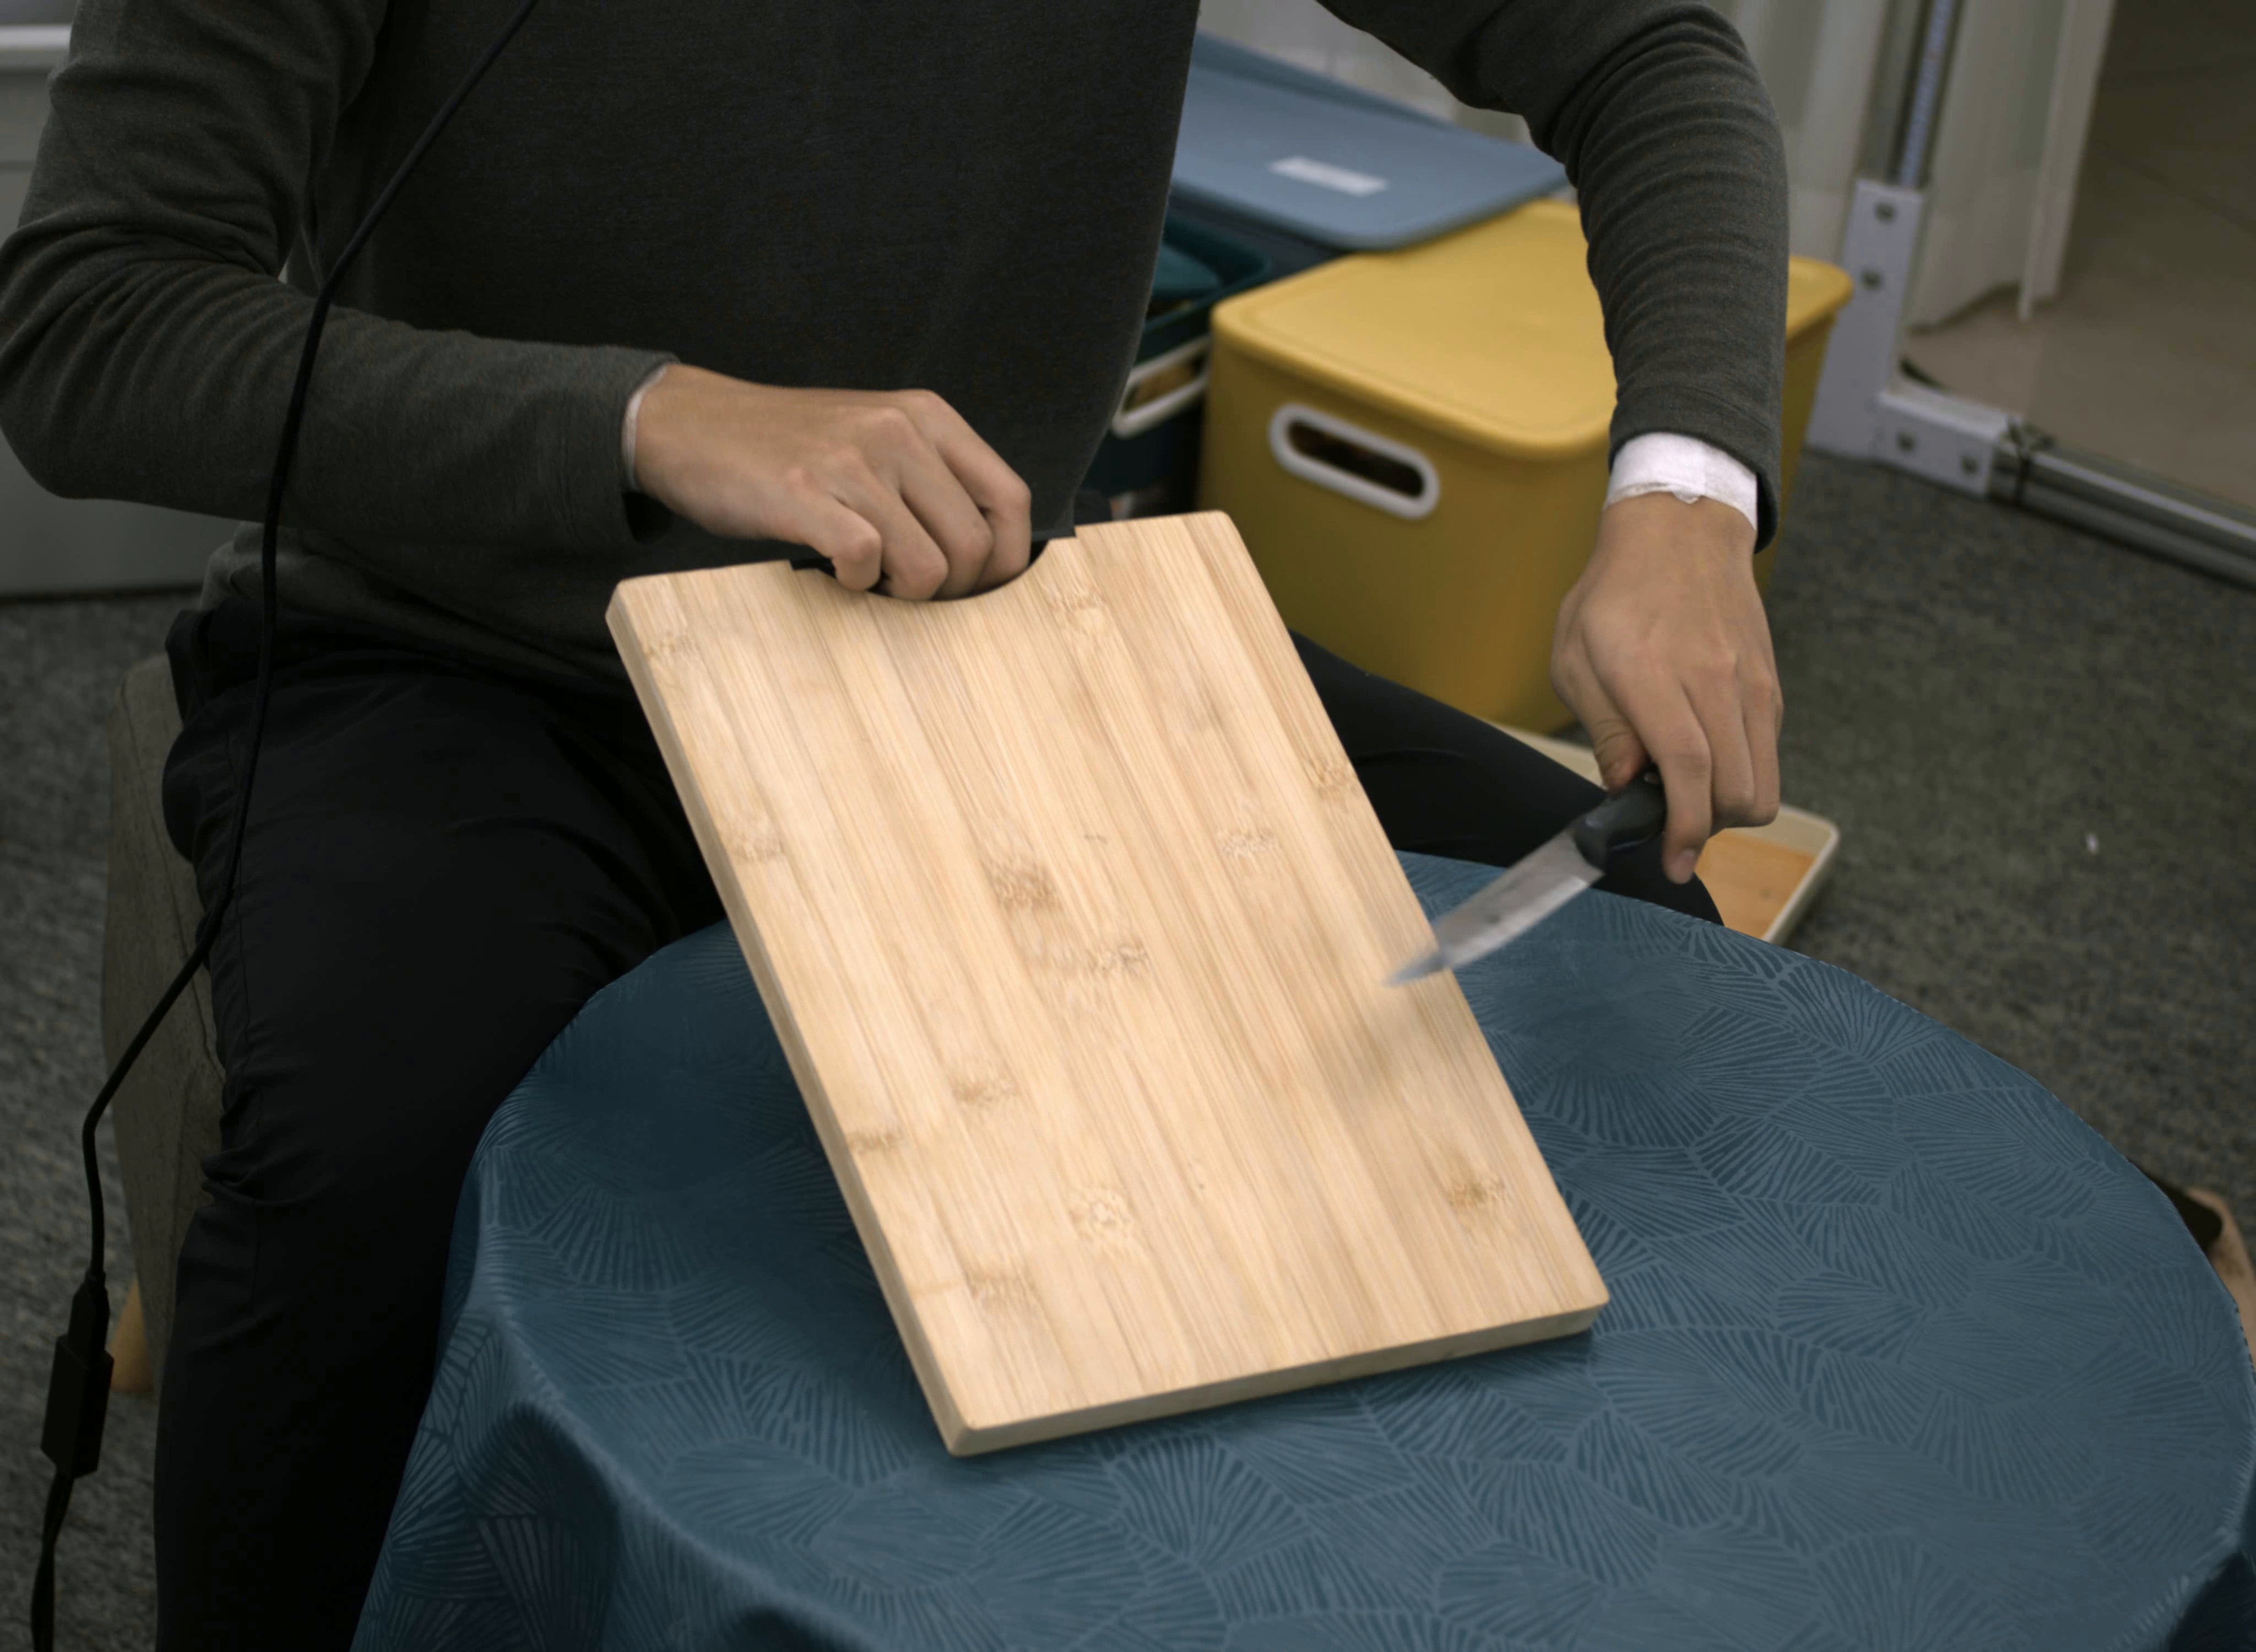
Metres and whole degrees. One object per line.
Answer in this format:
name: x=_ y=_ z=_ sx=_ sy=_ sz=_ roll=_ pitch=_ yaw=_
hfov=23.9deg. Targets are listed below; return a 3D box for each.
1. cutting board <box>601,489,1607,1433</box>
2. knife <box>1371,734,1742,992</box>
cutting board: x=-0.012 y=0.037 z=1.784 sx=0.249 sy=0.023 sz=0.352 roll=-9 pitch=57 yaw=-28
knife: x=0.145 y=0.012 z=1.819 sx=0.024 sy=0.016 sz=0.237 roll=33 pitch=36 yaw=22
